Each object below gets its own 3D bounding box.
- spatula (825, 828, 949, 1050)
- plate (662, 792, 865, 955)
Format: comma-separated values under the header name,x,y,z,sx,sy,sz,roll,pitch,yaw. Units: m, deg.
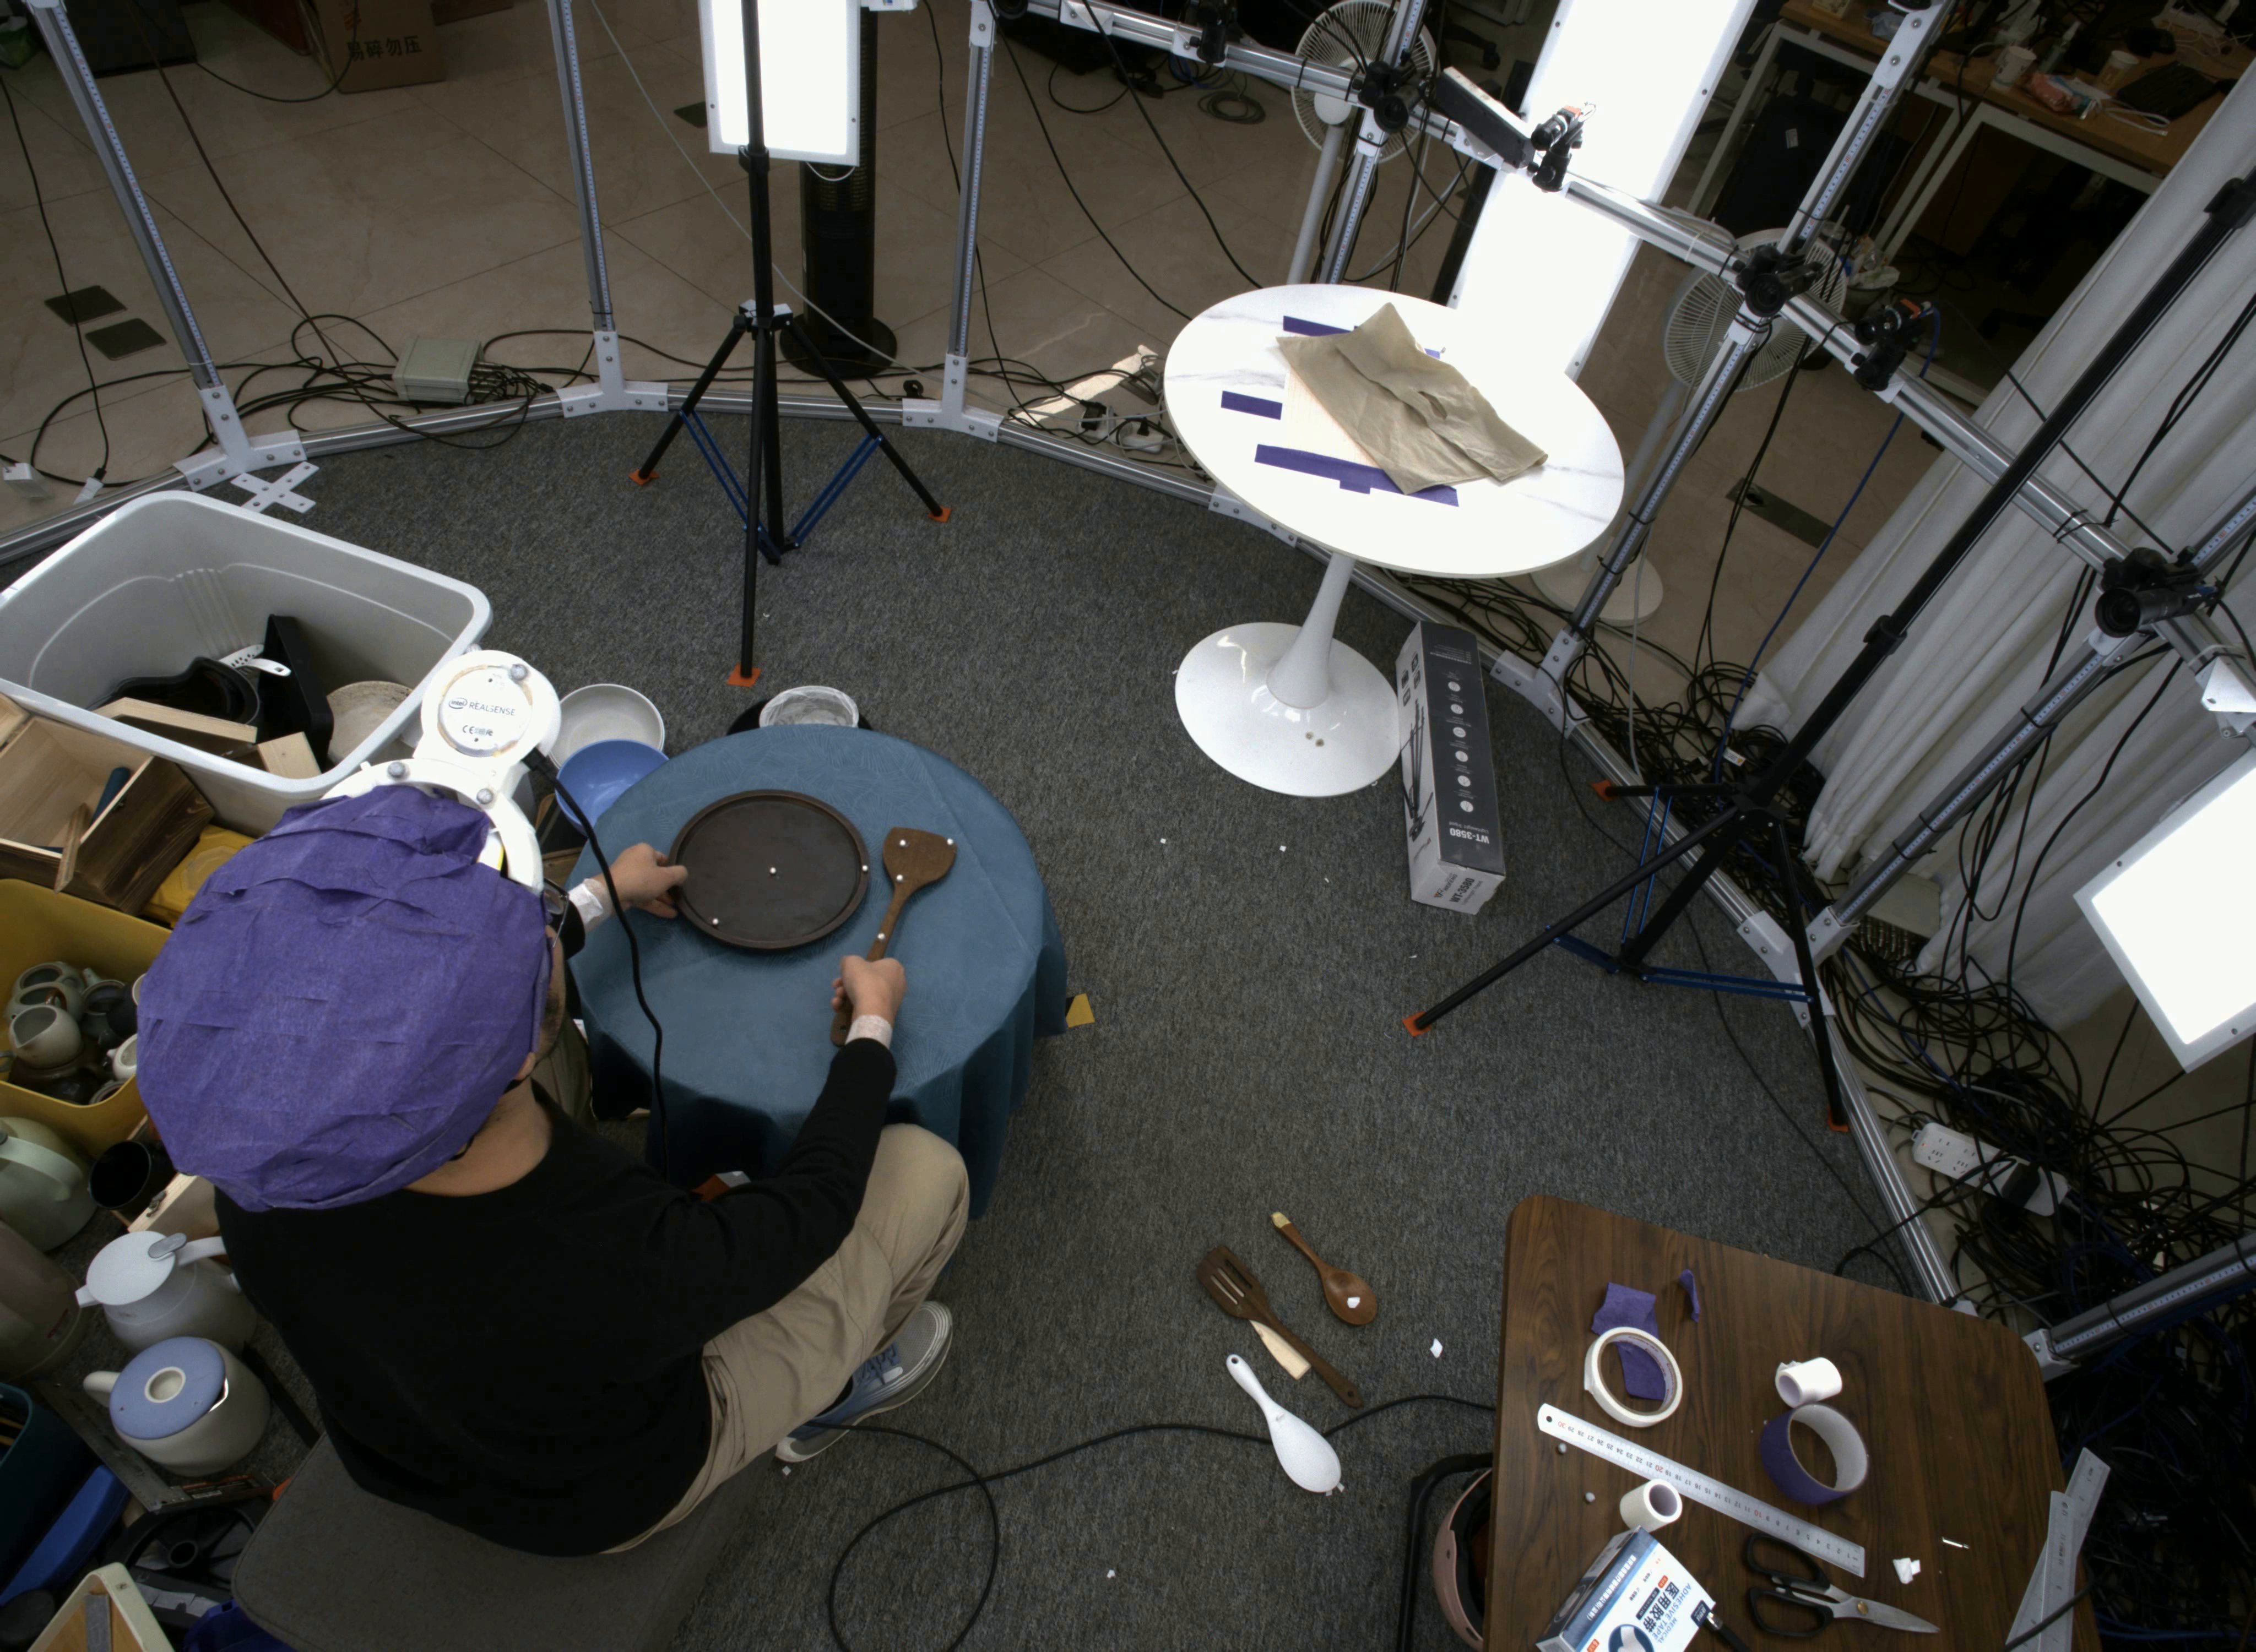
name,x,y,z,sx,sy,sz,roll,pitch,yaw
spatula,-0.307,0.127,1.606,0.095,0.016,0.379,15,39,-3
plate,-0.463,0.057,1.648,0.255,0.029,0.250,10,50,-10
